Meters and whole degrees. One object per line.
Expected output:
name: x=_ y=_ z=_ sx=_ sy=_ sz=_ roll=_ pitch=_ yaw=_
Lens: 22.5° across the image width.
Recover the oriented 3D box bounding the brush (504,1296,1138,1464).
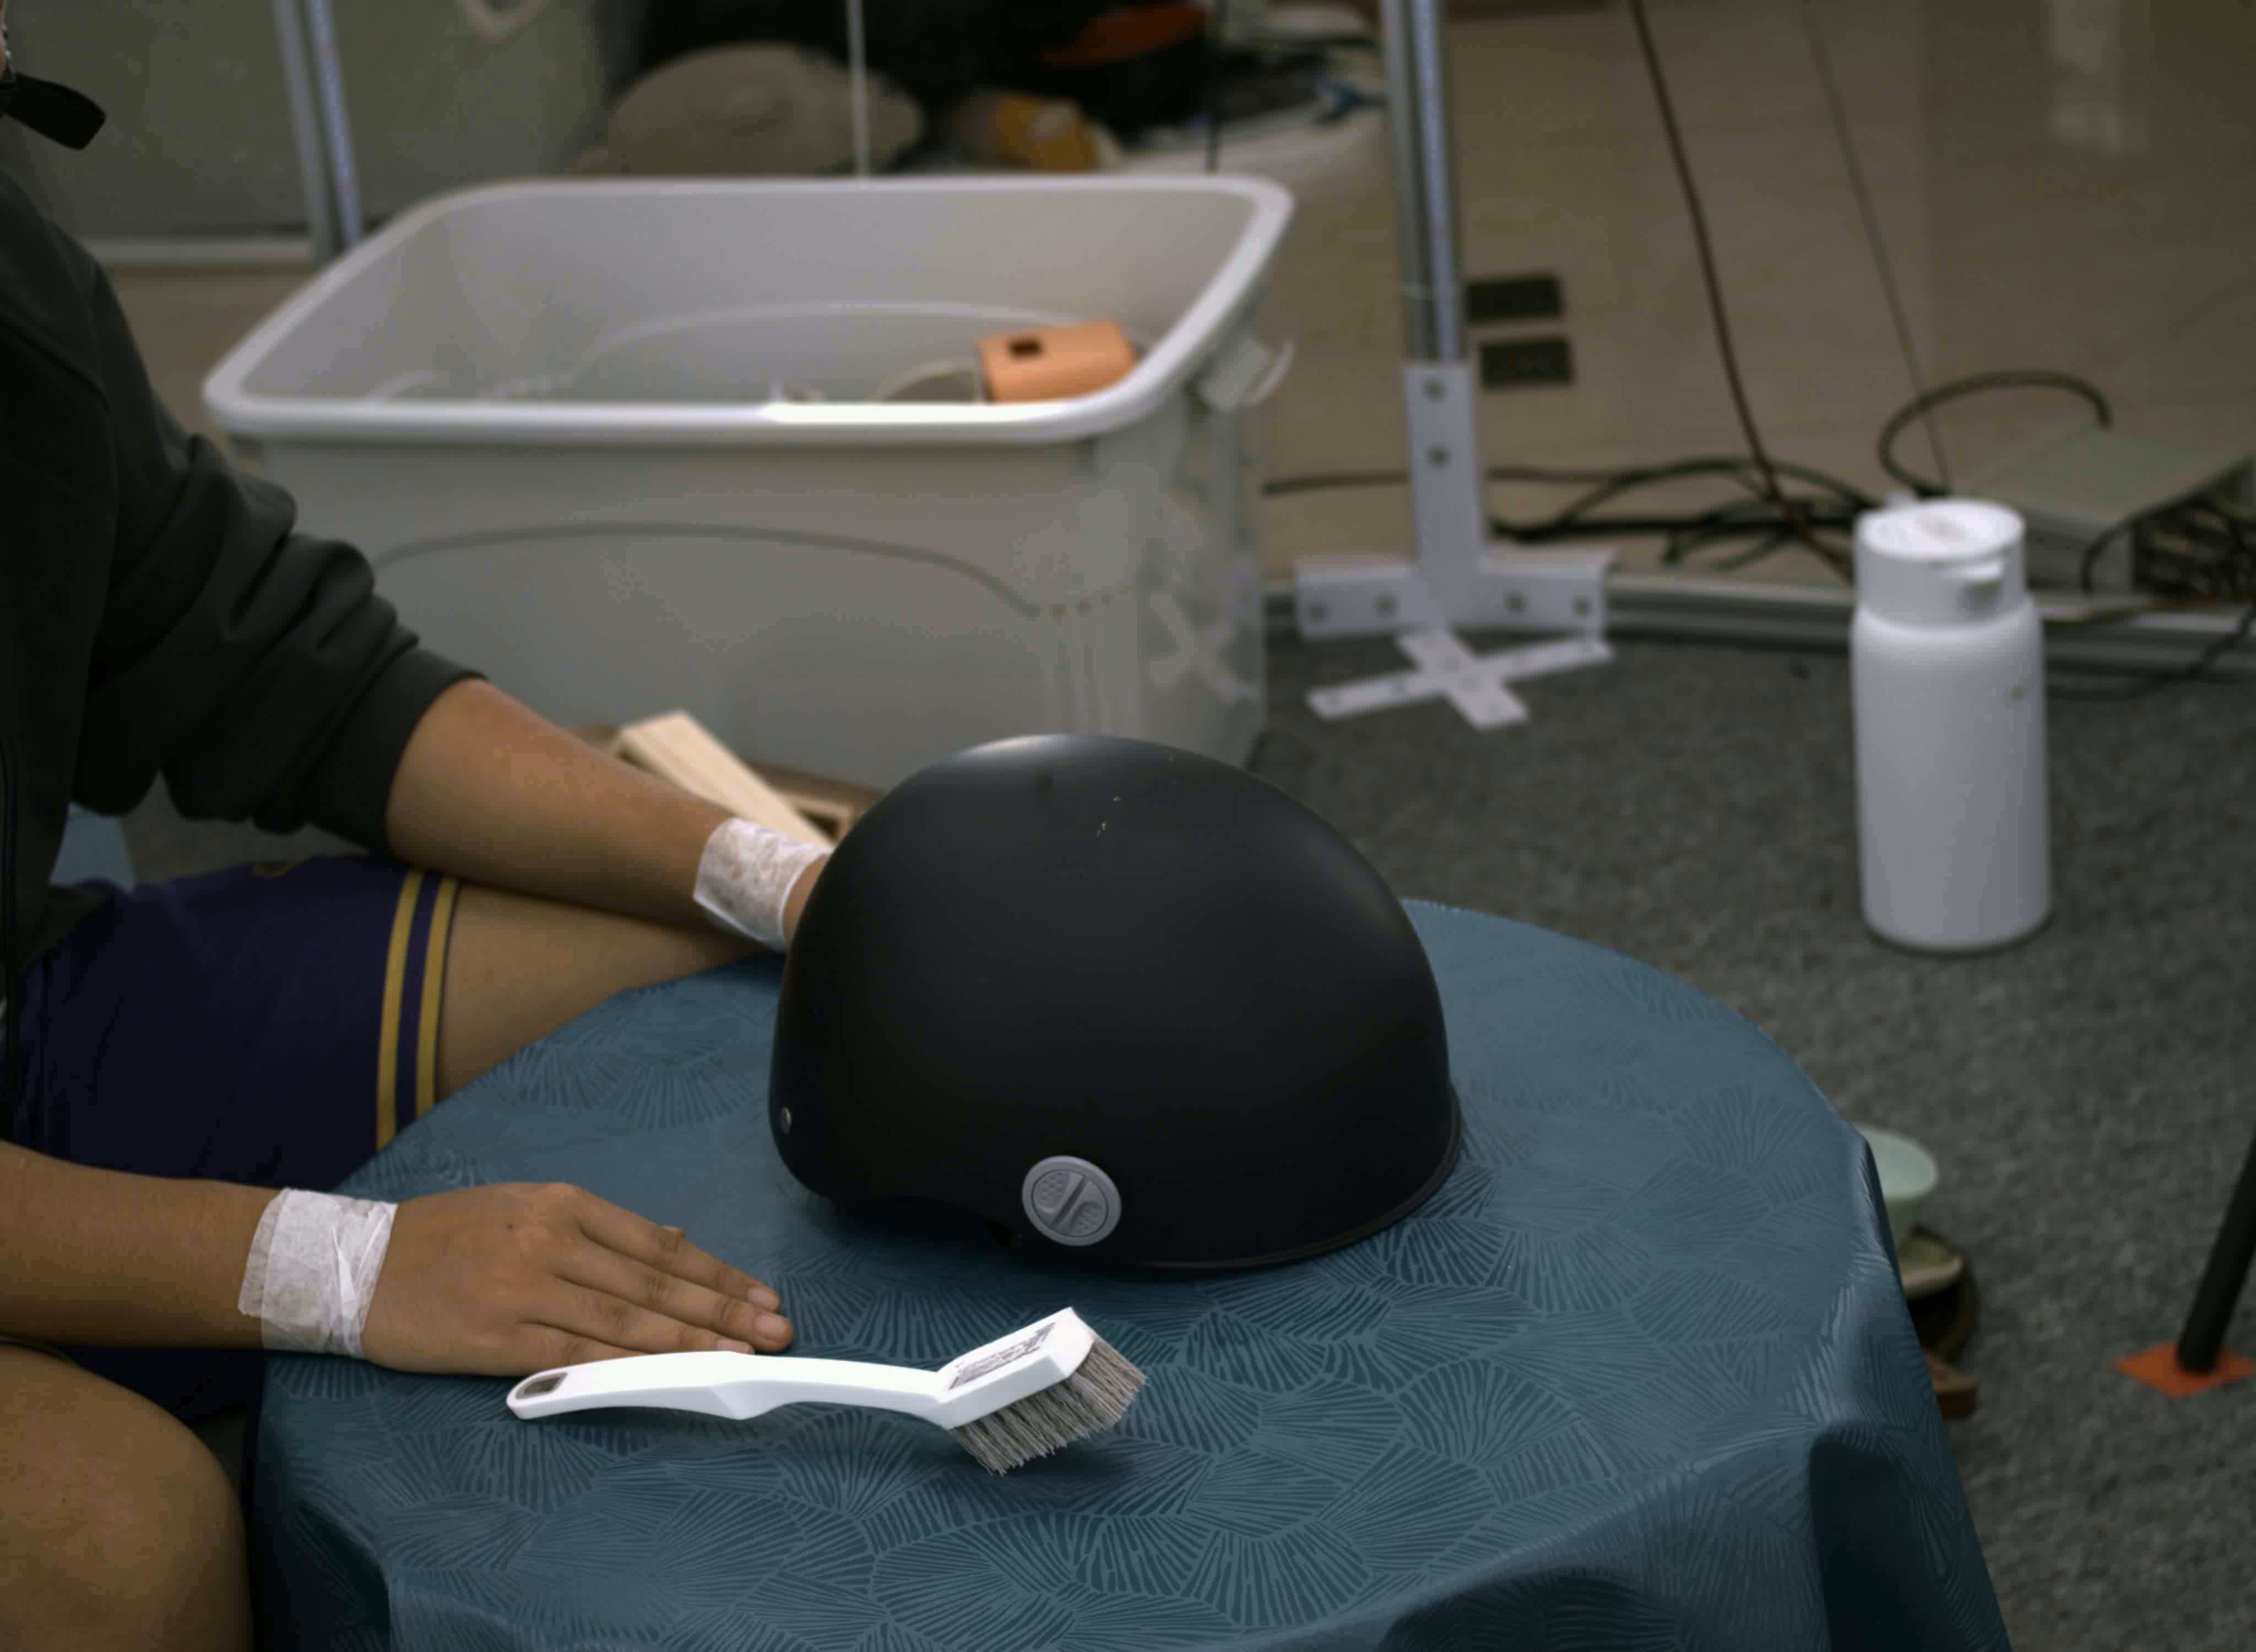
brush: x=-0.110 y=0.206 z=2.002 sx=0.244 sy=0.051 sz=0.034 roll=-10 pitch=26 yaw=26

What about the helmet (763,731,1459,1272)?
helmet: x=-0.011 y=0.053 z=2.145 sx=0.272 sy=0.169 sz=0.227 roll=10 pitch=33 yaw=28
